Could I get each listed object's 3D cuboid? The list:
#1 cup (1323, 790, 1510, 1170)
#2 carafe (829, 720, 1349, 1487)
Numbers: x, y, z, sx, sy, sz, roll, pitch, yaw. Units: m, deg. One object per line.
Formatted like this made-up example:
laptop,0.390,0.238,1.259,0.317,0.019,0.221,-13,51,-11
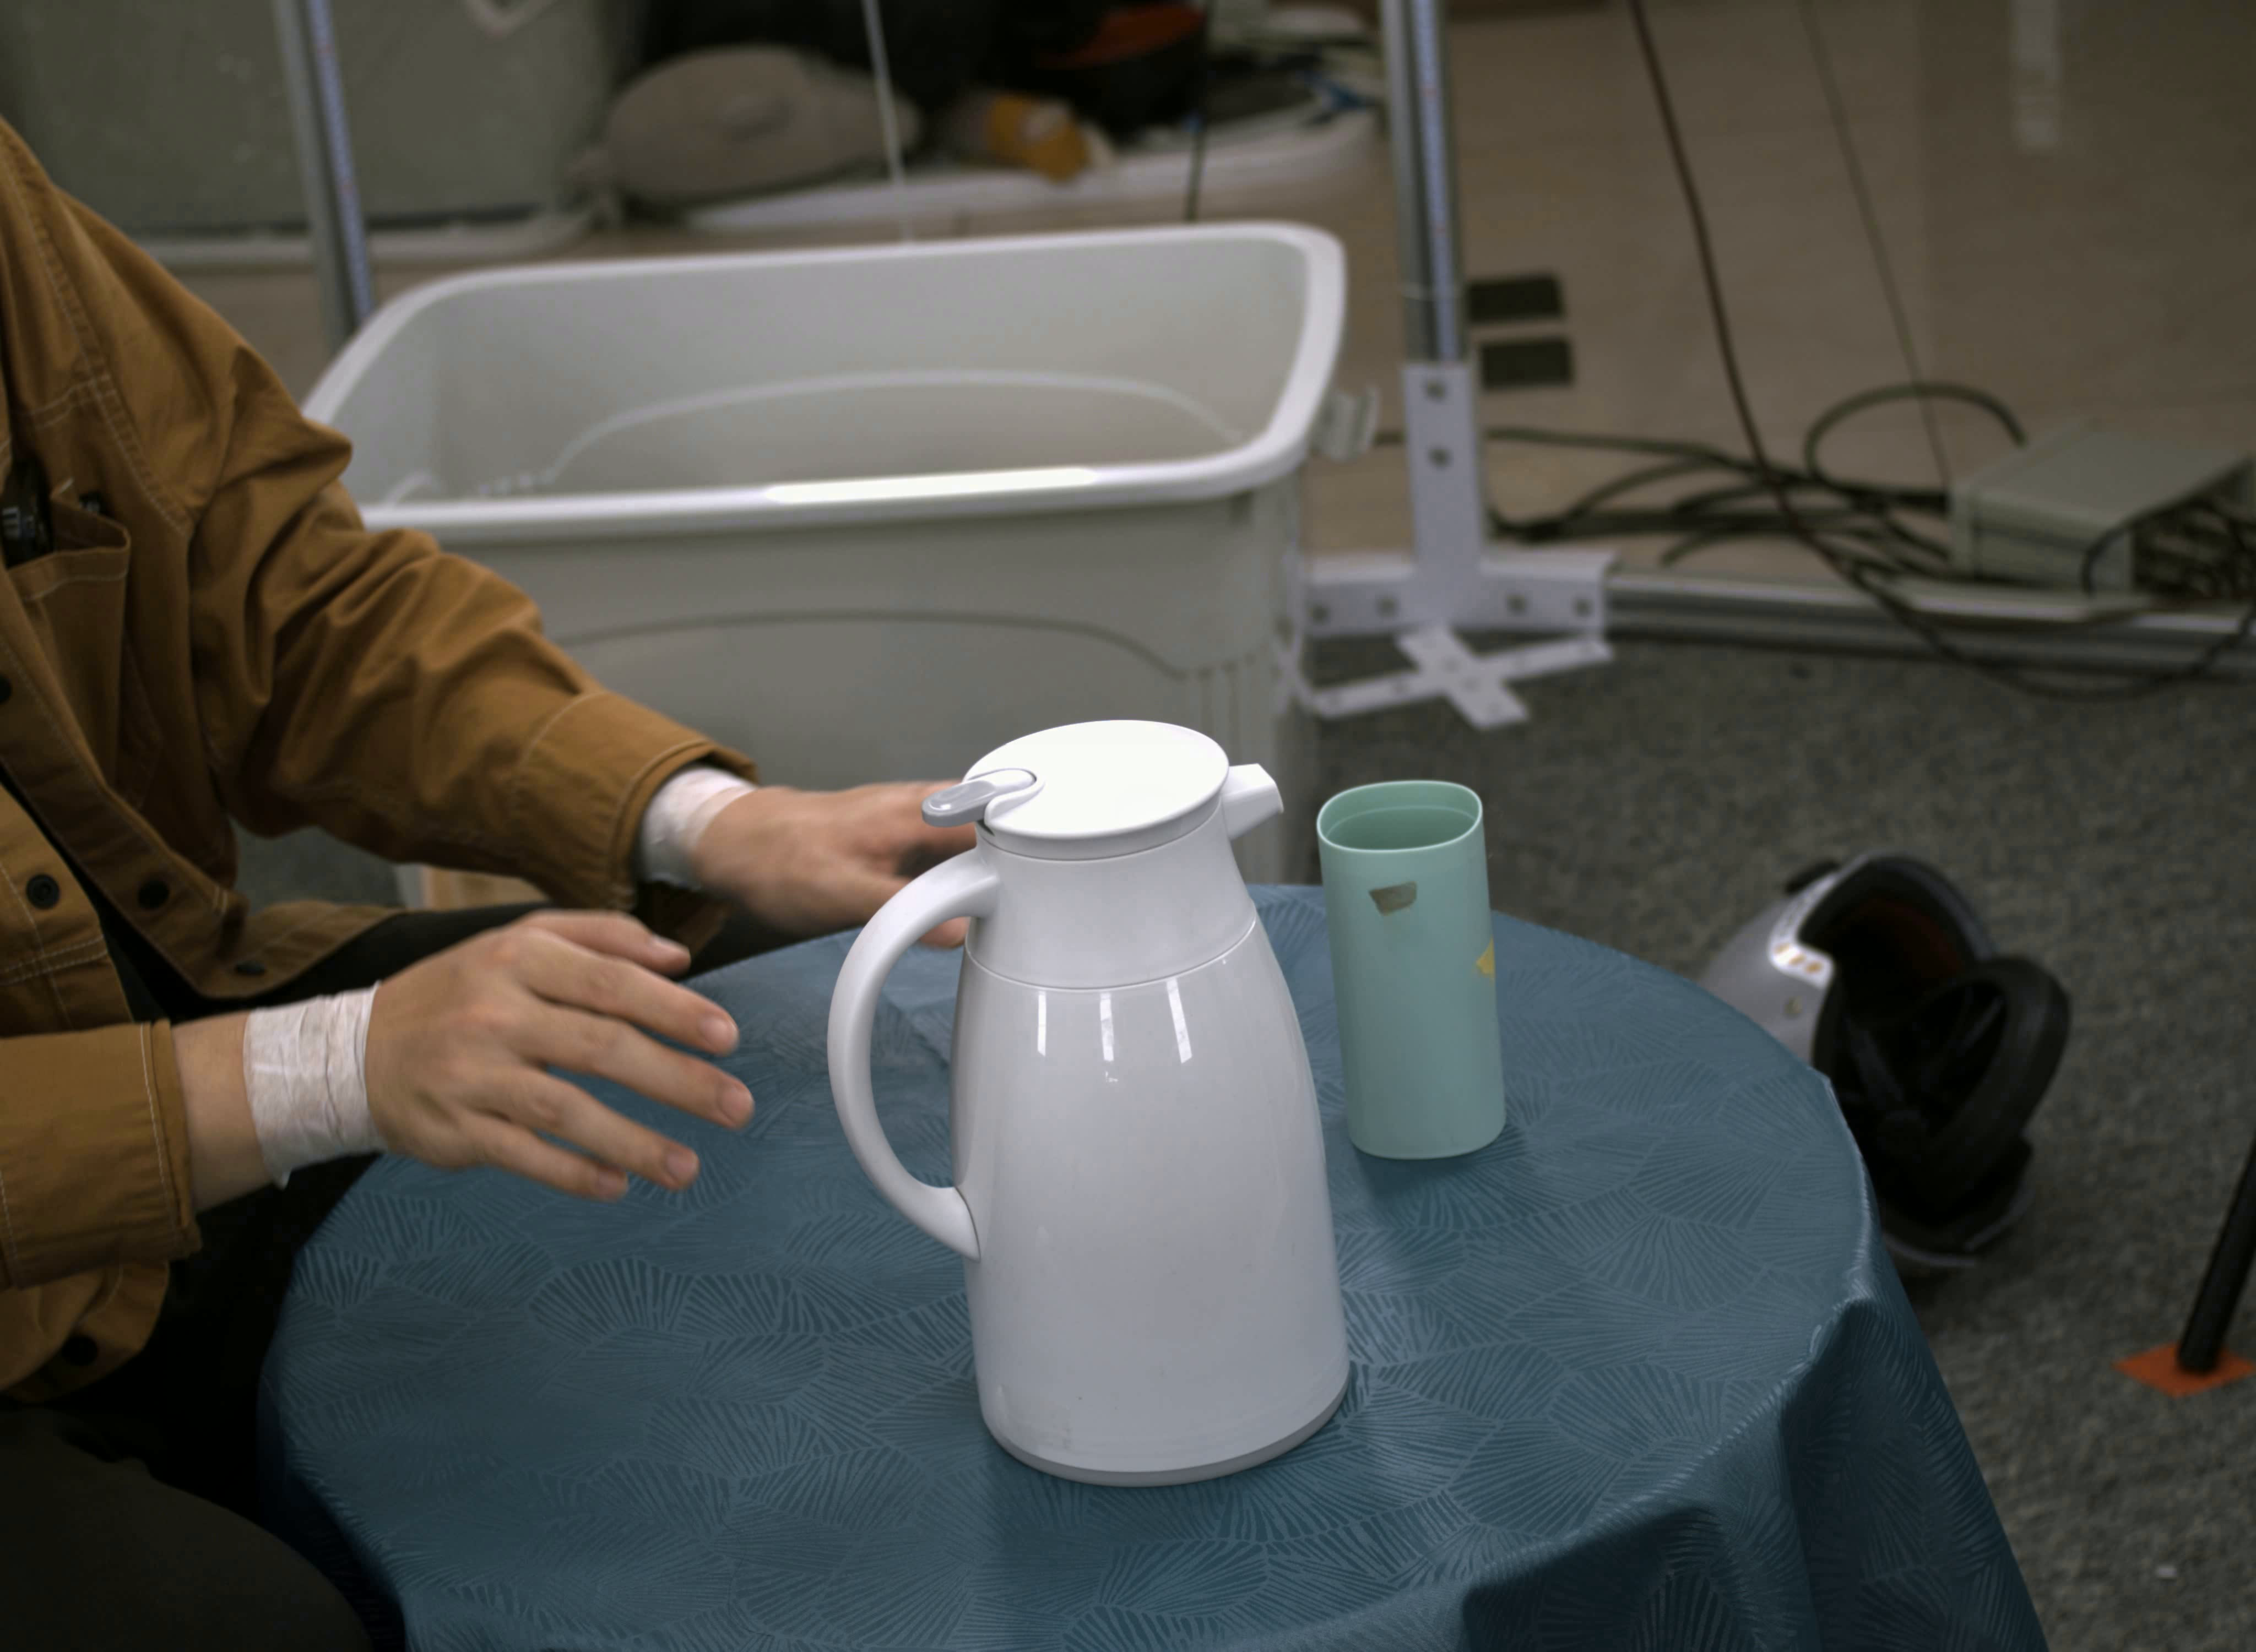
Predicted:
cup,0.109,0.058,2.148,0.066,0.134,0.066,-5,26,2
carafe,-0.017,0.094,1.954,0.167,0.252,0.131,-14,27,-15
